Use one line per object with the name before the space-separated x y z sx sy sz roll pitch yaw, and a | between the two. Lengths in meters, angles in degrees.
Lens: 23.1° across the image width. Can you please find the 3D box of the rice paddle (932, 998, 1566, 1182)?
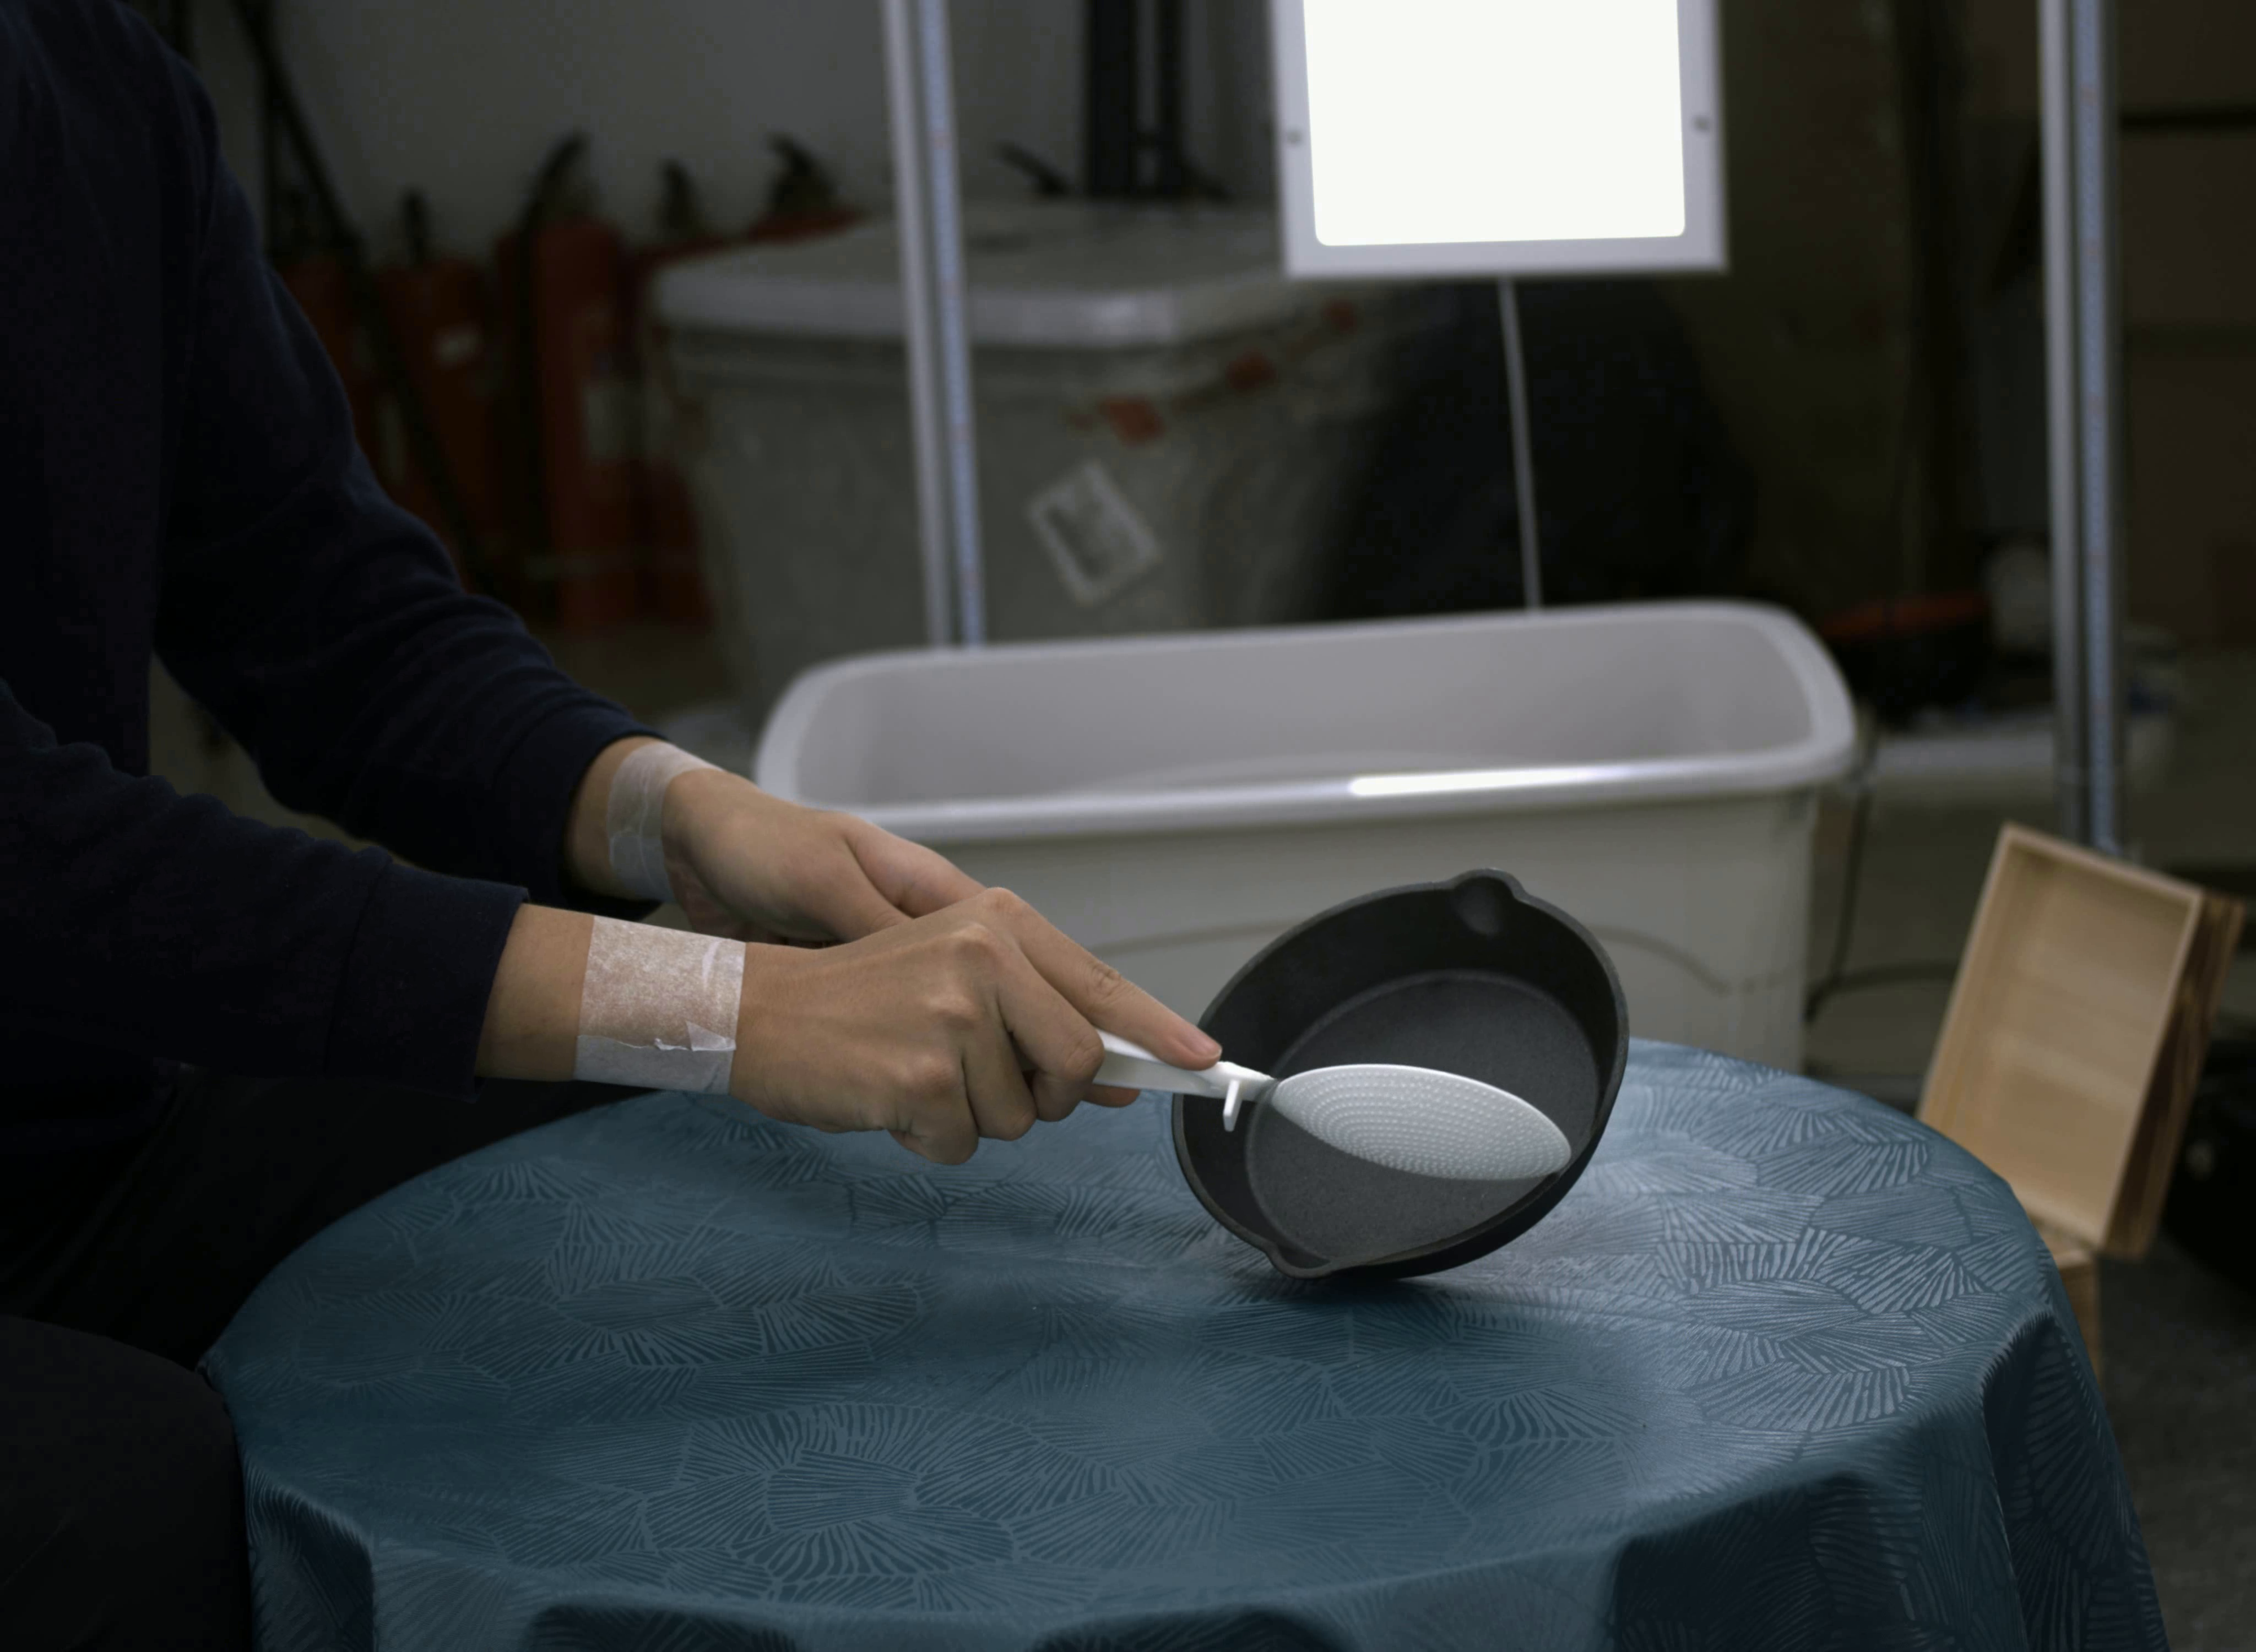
rice paddle | 0.040 0.085 1.757 0.206 0.029 0.069 9 -28 12

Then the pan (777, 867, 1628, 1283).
pan | 0.020 0.071 1.853 0.330 0.049 0.167 11 58 33
